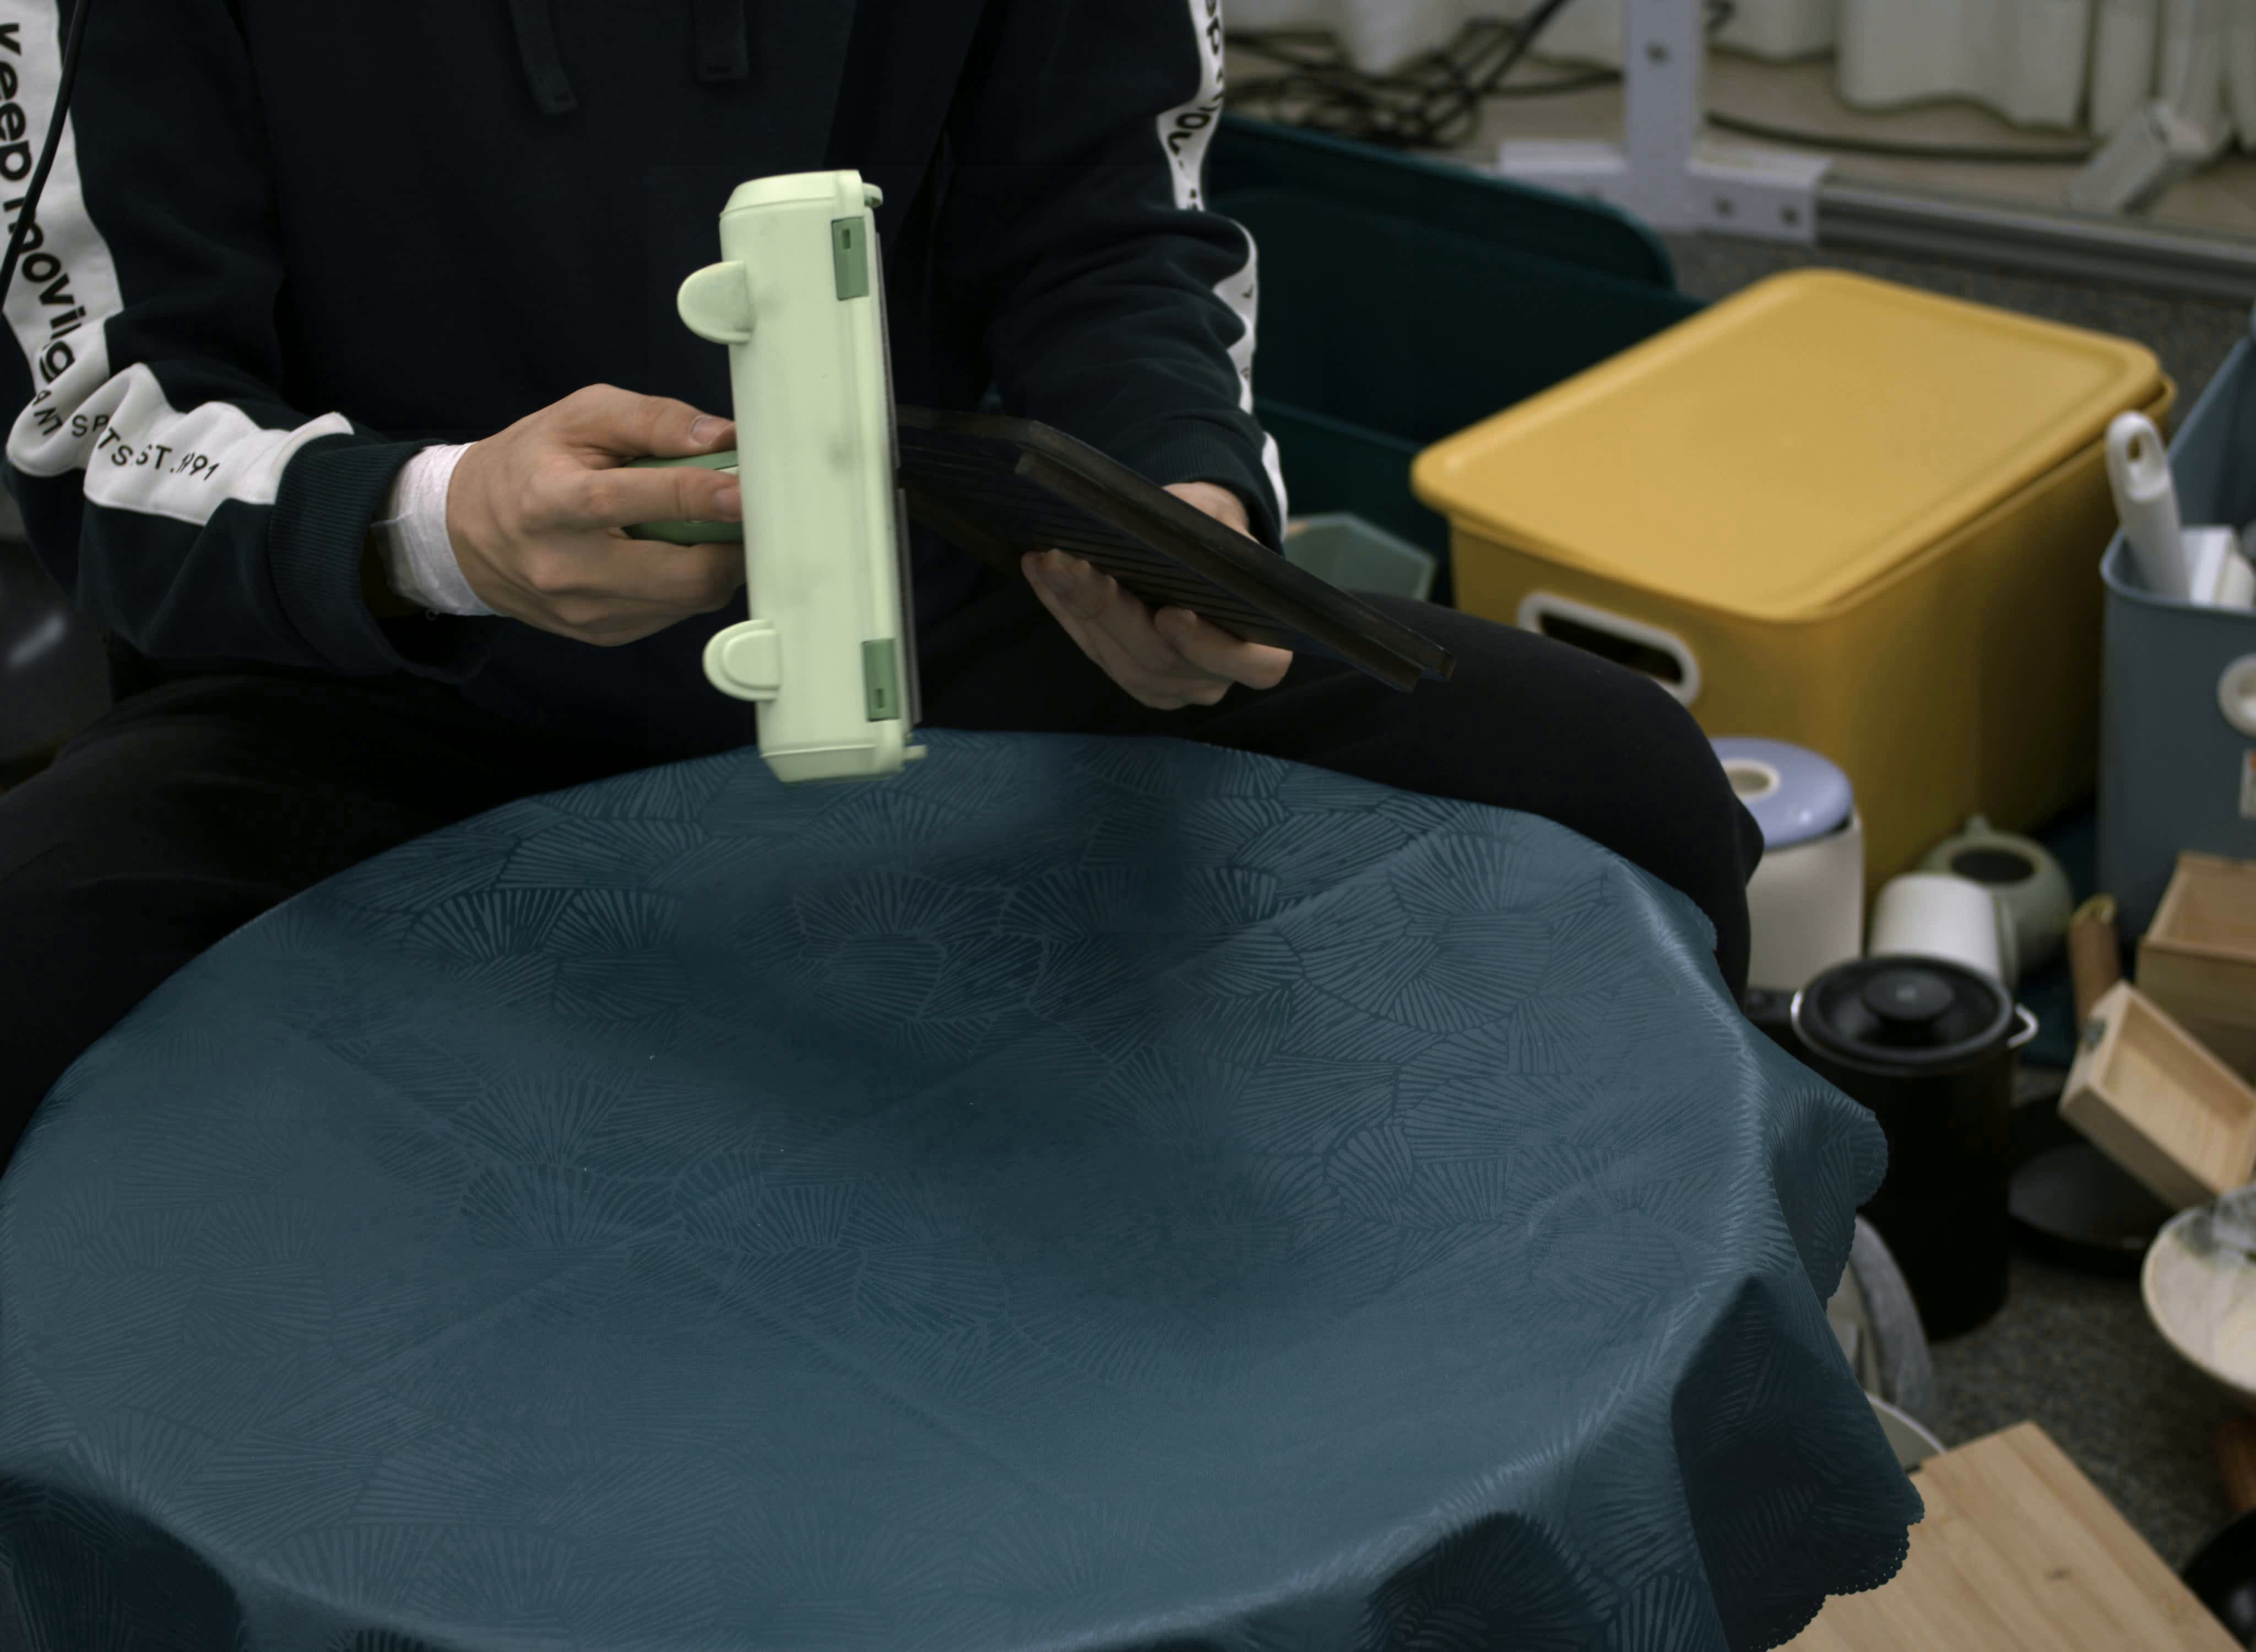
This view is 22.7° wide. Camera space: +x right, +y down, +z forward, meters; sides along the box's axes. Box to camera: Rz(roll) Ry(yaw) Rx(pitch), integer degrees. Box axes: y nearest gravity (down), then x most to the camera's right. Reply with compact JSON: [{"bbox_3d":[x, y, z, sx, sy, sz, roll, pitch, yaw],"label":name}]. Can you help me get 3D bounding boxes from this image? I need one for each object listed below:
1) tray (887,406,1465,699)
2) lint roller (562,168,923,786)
[{"bbox_3d":[-0.014,-0.097,1.928,0.169,0.019,0.305,29,-5,-22],"label":"tray"},{"bbox_3d":[-0.146,-0.109,1.859,0.181,0.200,0.082,-6,-3,42],"label":"lint roller"}]
